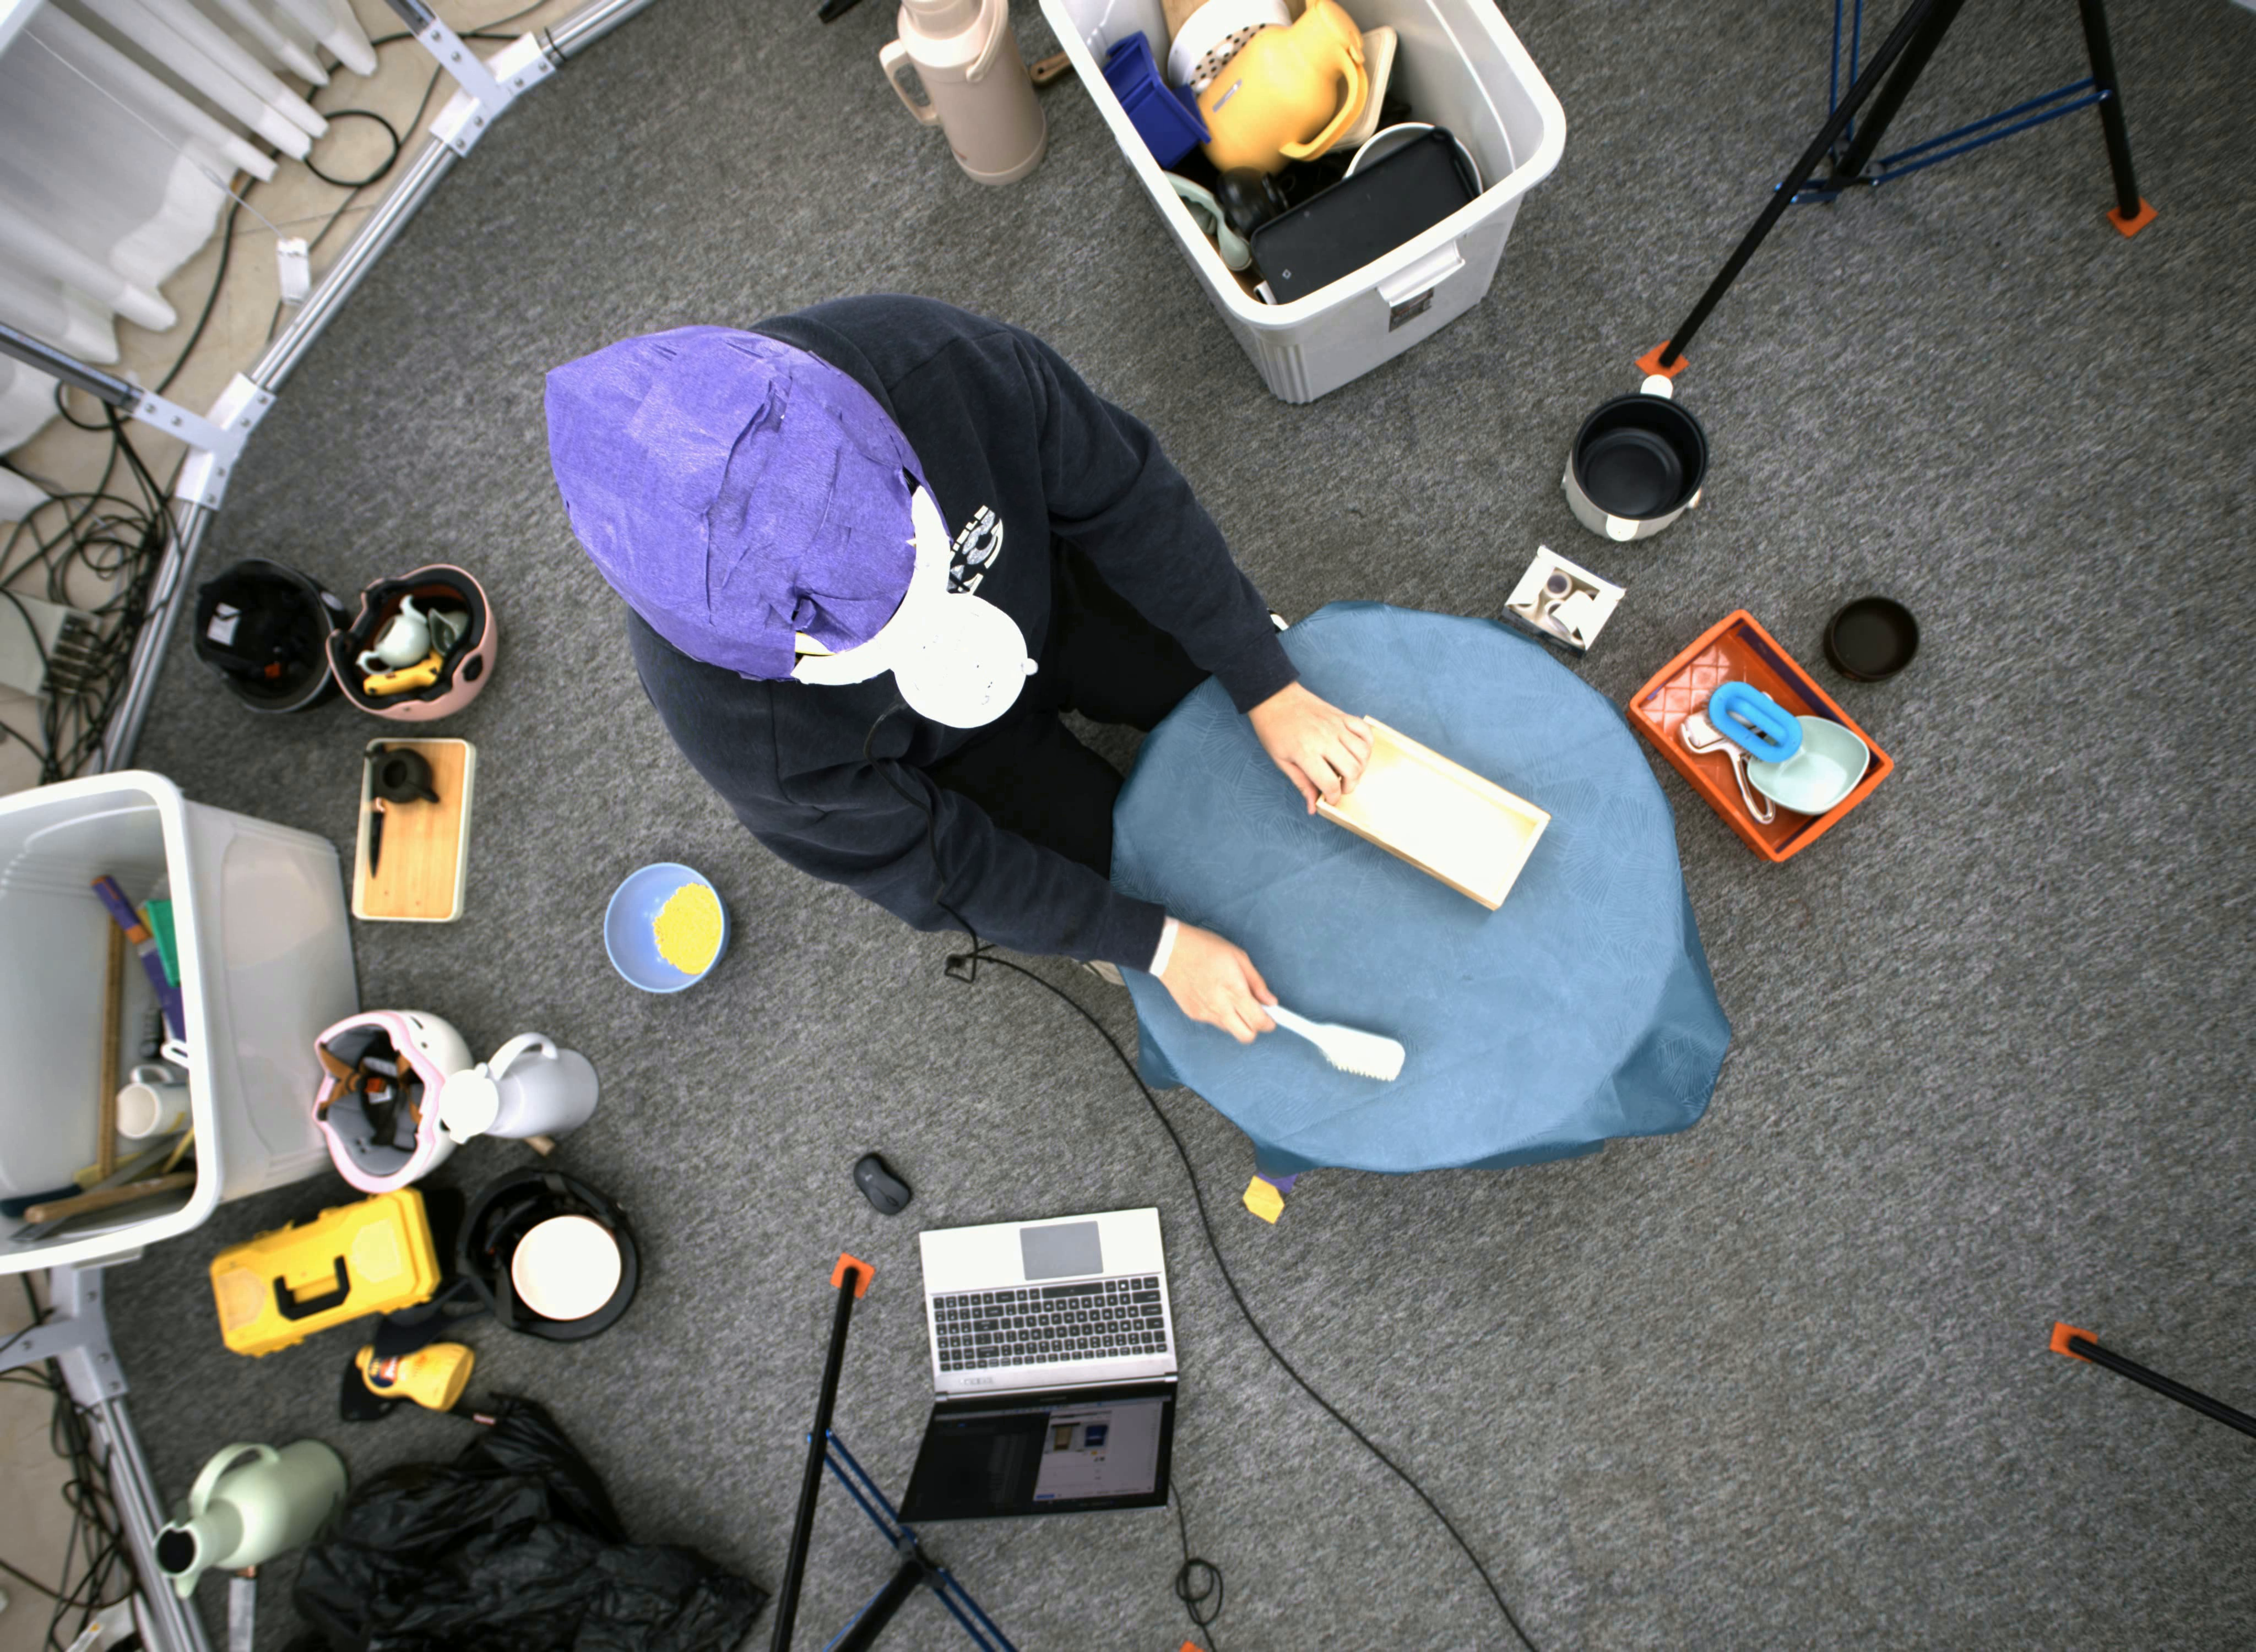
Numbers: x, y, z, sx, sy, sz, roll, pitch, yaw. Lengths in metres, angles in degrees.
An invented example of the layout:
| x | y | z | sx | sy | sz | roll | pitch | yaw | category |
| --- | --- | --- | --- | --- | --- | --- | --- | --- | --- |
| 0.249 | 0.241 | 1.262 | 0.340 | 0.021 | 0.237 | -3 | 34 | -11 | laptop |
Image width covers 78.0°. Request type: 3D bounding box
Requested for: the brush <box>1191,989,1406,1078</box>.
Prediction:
| x | y | z | sx | sy | sz | roll | pitch | yaw | category |
| --- | --- | --- | --- | --- | --- | --- | --- | --- | --- |
| 0.175 | 0.214 | 1.441 | 0.229 | 0.051 | 0.037 | 16 | 57 | 12 | brush |

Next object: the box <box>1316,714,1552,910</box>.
| x | y | z | sx | sy | sz | roll | pitch | yaw | category |
| --- | --- | --- | --- | --- | --- | --- | --- | --- | --- |
| 0.312 | -0.015 | 1.417 | 0.211 | 0.080 | 0.107 | 29 | 91 | 11 | box |
